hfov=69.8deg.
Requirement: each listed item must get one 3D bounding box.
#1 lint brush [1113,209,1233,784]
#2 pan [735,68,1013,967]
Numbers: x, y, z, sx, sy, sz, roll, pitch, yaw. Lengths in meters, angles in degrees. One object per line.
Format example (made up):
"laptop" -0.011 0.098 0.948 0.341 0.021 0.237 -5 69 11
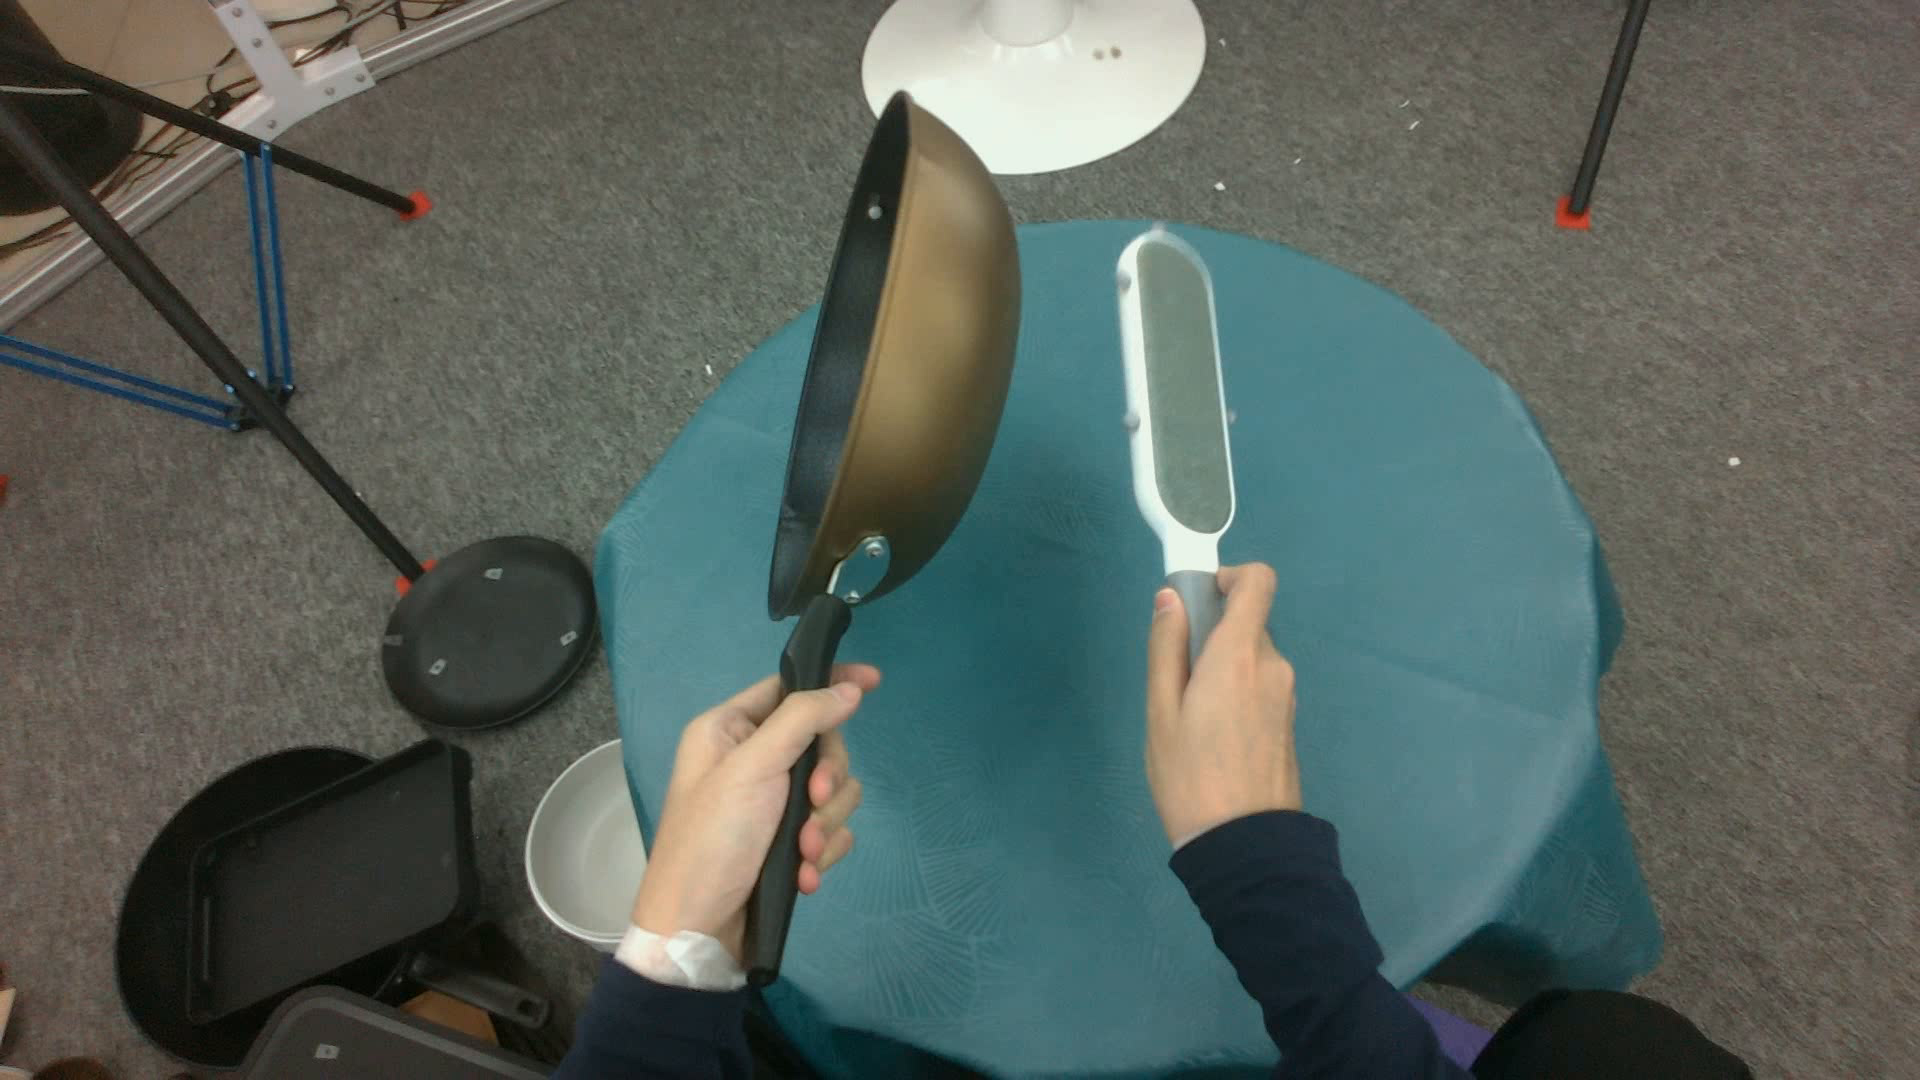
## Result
"lint brush" 0.108 -0.033 0.684 0.060 0.021 0.310 15 63 -34
"pan" -0.039 -0.022 0.674 0.087 0.286 0.465 13 53 -13
